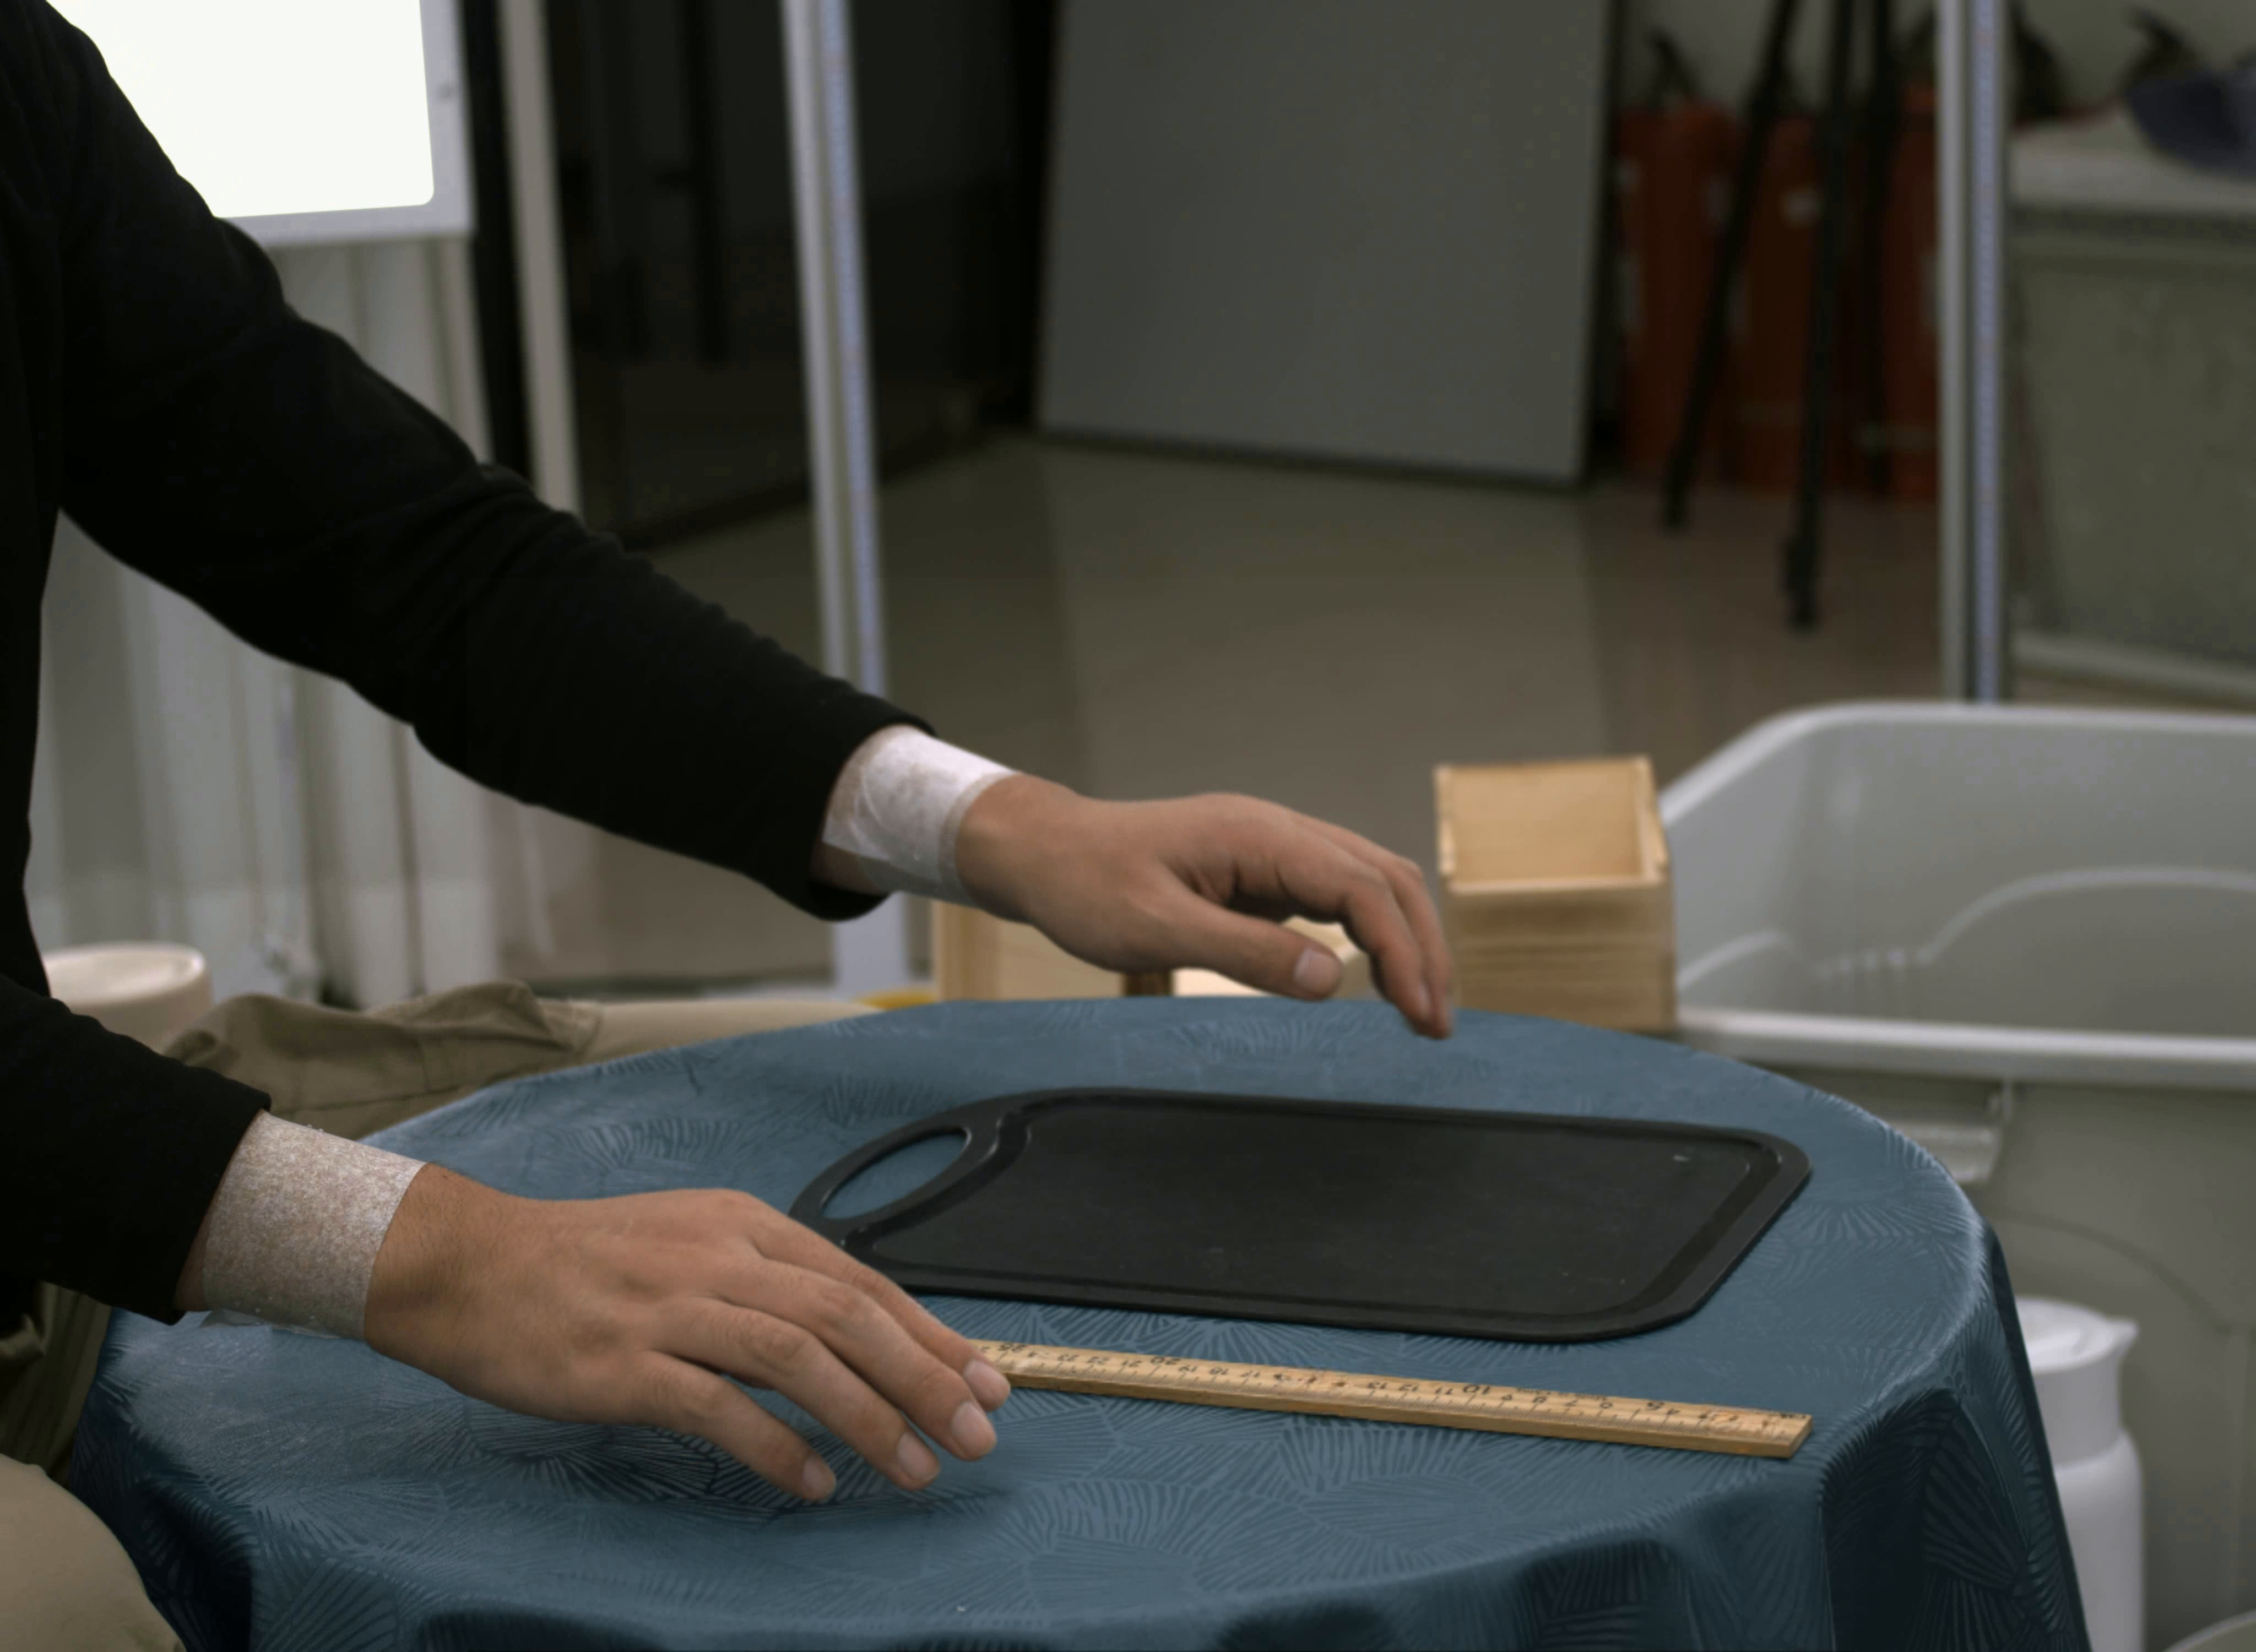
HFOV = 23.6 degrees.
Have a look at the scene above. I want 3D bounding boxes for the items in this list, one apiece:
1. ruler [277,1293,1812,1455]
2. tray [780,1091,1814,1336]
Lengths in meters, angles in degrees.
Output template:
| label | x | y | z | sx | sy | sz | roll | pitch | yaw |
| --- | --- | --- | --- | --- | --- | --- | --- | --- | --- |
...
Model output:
| label | x | y | z | sx | sy | sz | roll | pitch | yaw |
| --- | --- | --- | --- | --- | --- | --- | --- | --- | --- |
| ruler | -0.037 | 0.161 | 1.608 | 0.501 | 0.006 | 0.026 | 2 | 12 | 25 |
| tray | 0.048 | 0.121 | 1.741 | 0.326 | 0.010 | 0.208 | 2 | 15 | 24 |
